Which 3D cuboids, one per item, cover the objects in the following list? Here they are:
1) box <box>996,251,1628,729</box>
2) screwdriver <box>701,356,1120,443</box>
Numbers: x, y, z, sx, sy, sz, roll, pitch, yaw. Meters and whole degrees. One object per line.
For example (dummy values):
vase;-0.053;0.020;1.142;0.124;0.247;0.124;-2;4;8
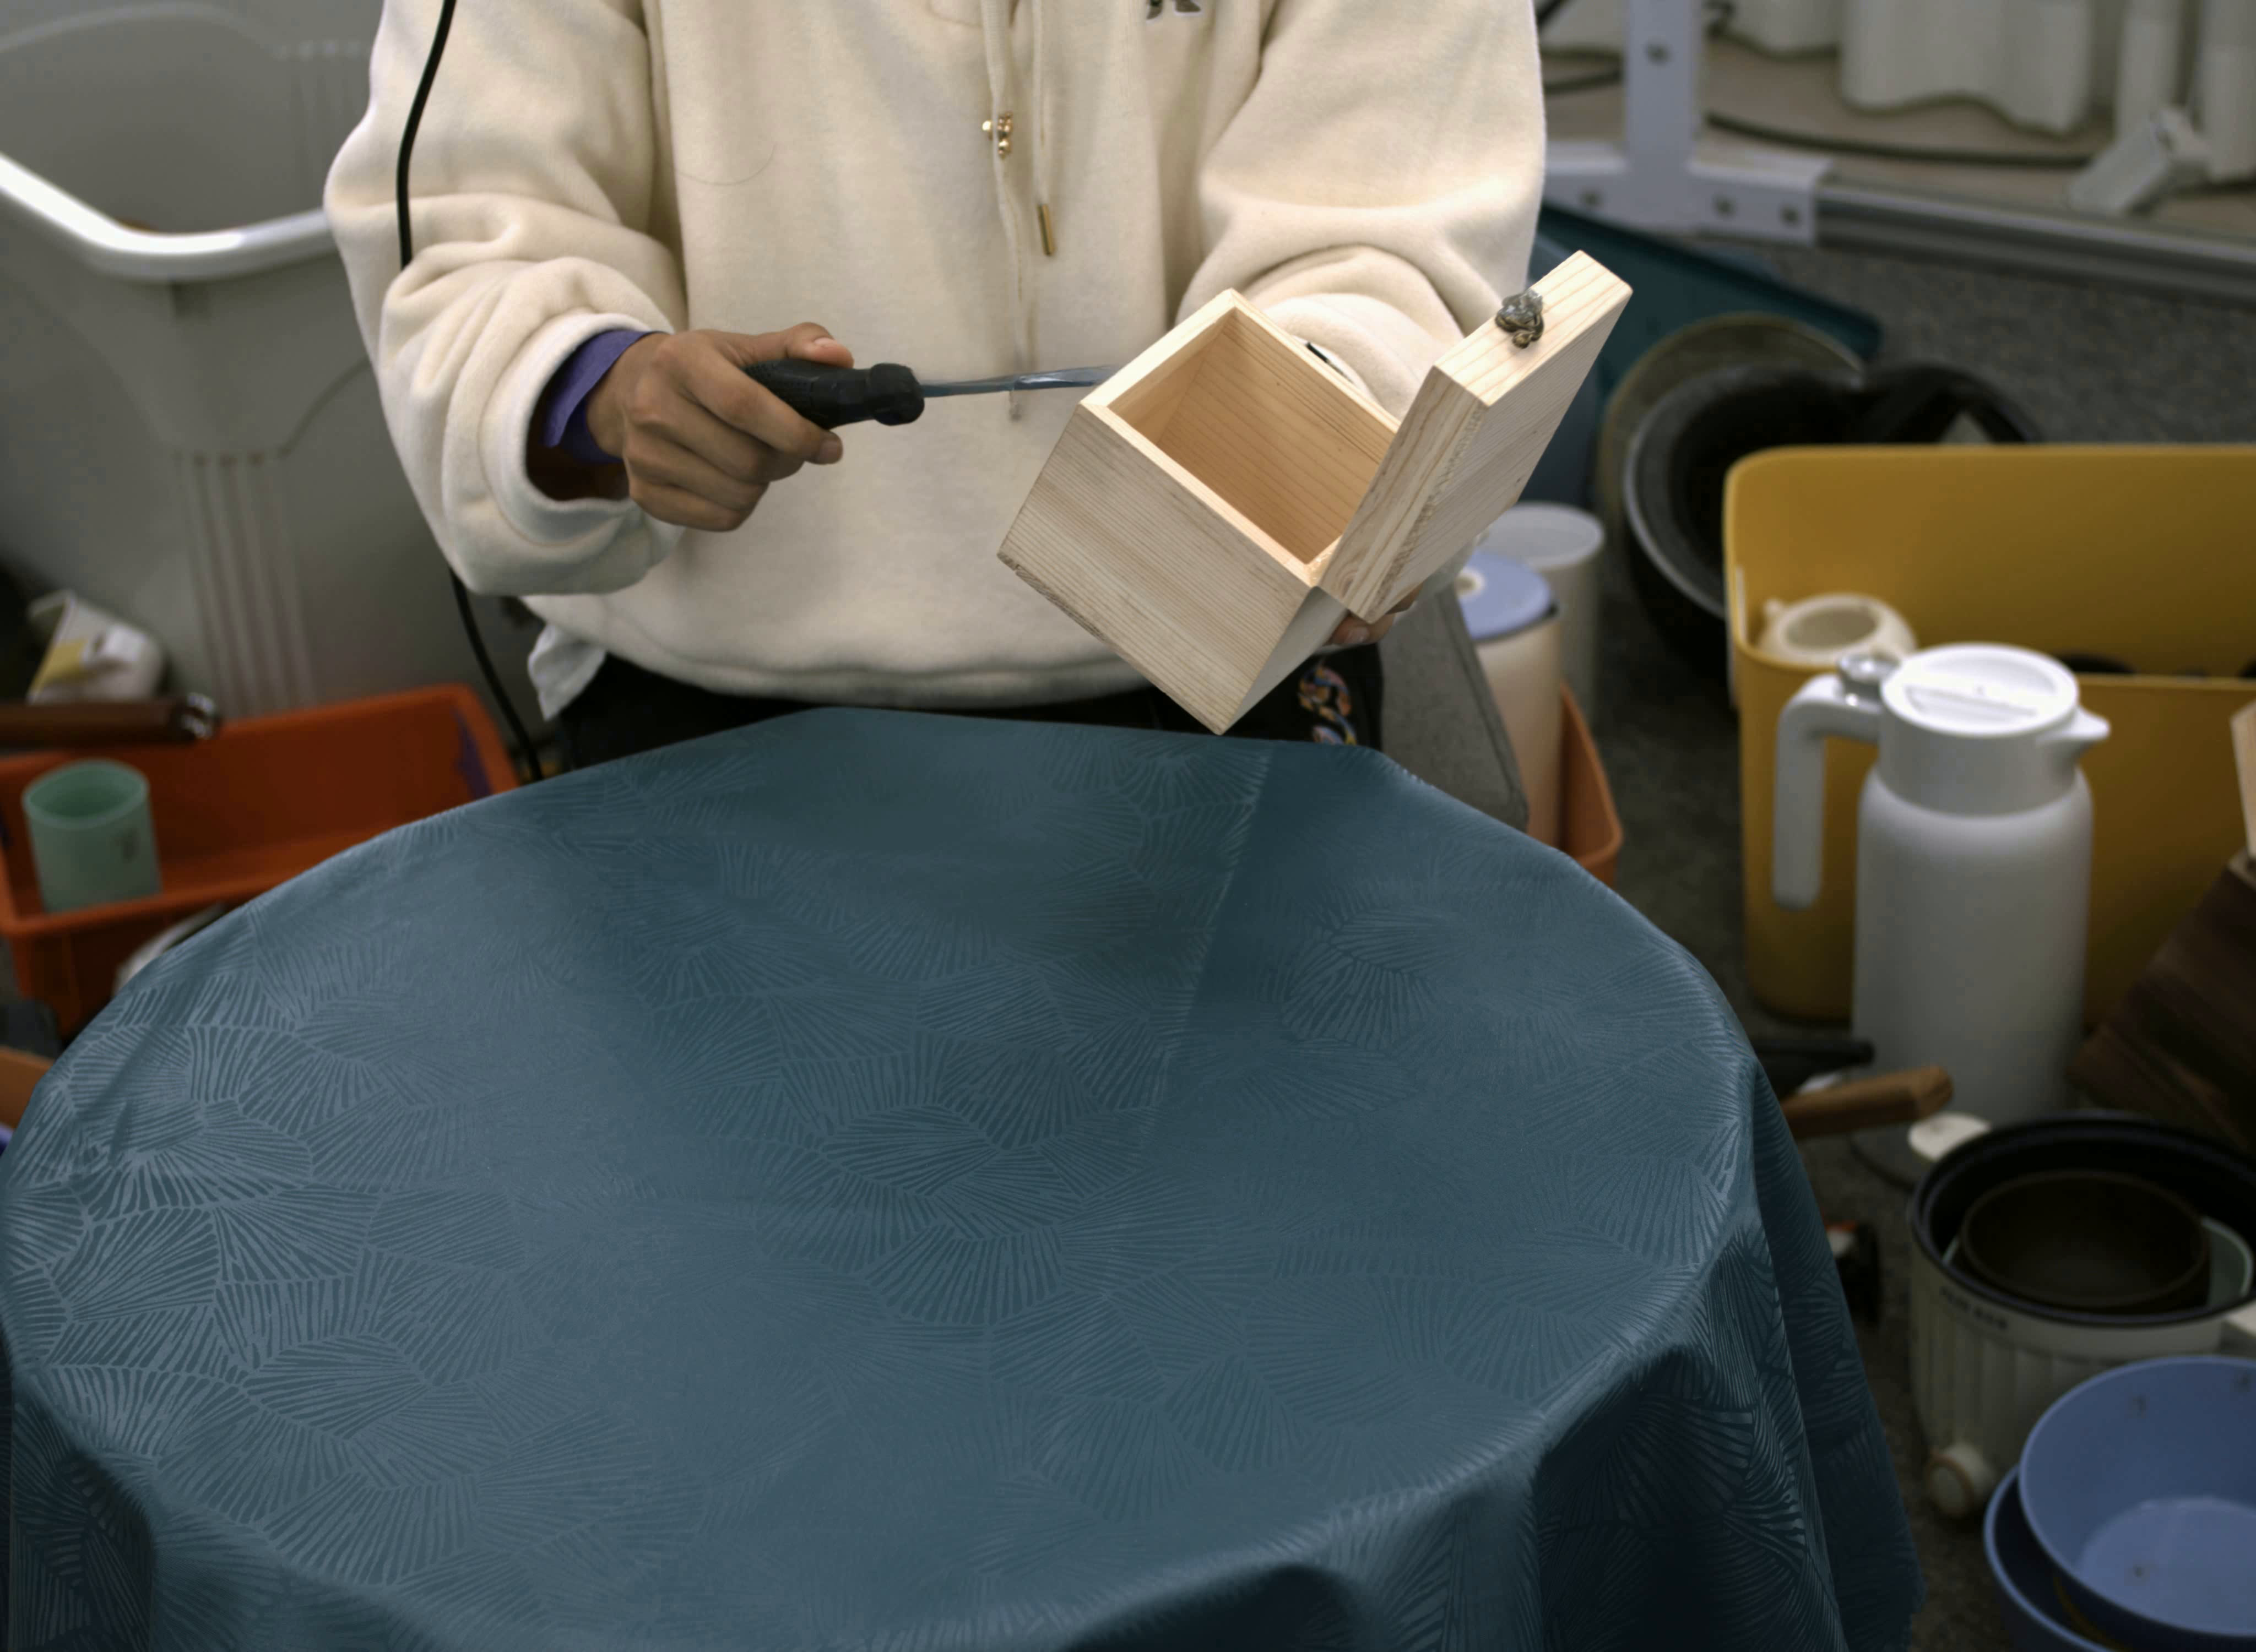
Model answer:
box;0.059;-0.138;1.895;0.134;0.181;0.104;40;43;10
screwdriver;-0.077;-0.150;1.978;0.196;0.031;0.032;3;24;42
